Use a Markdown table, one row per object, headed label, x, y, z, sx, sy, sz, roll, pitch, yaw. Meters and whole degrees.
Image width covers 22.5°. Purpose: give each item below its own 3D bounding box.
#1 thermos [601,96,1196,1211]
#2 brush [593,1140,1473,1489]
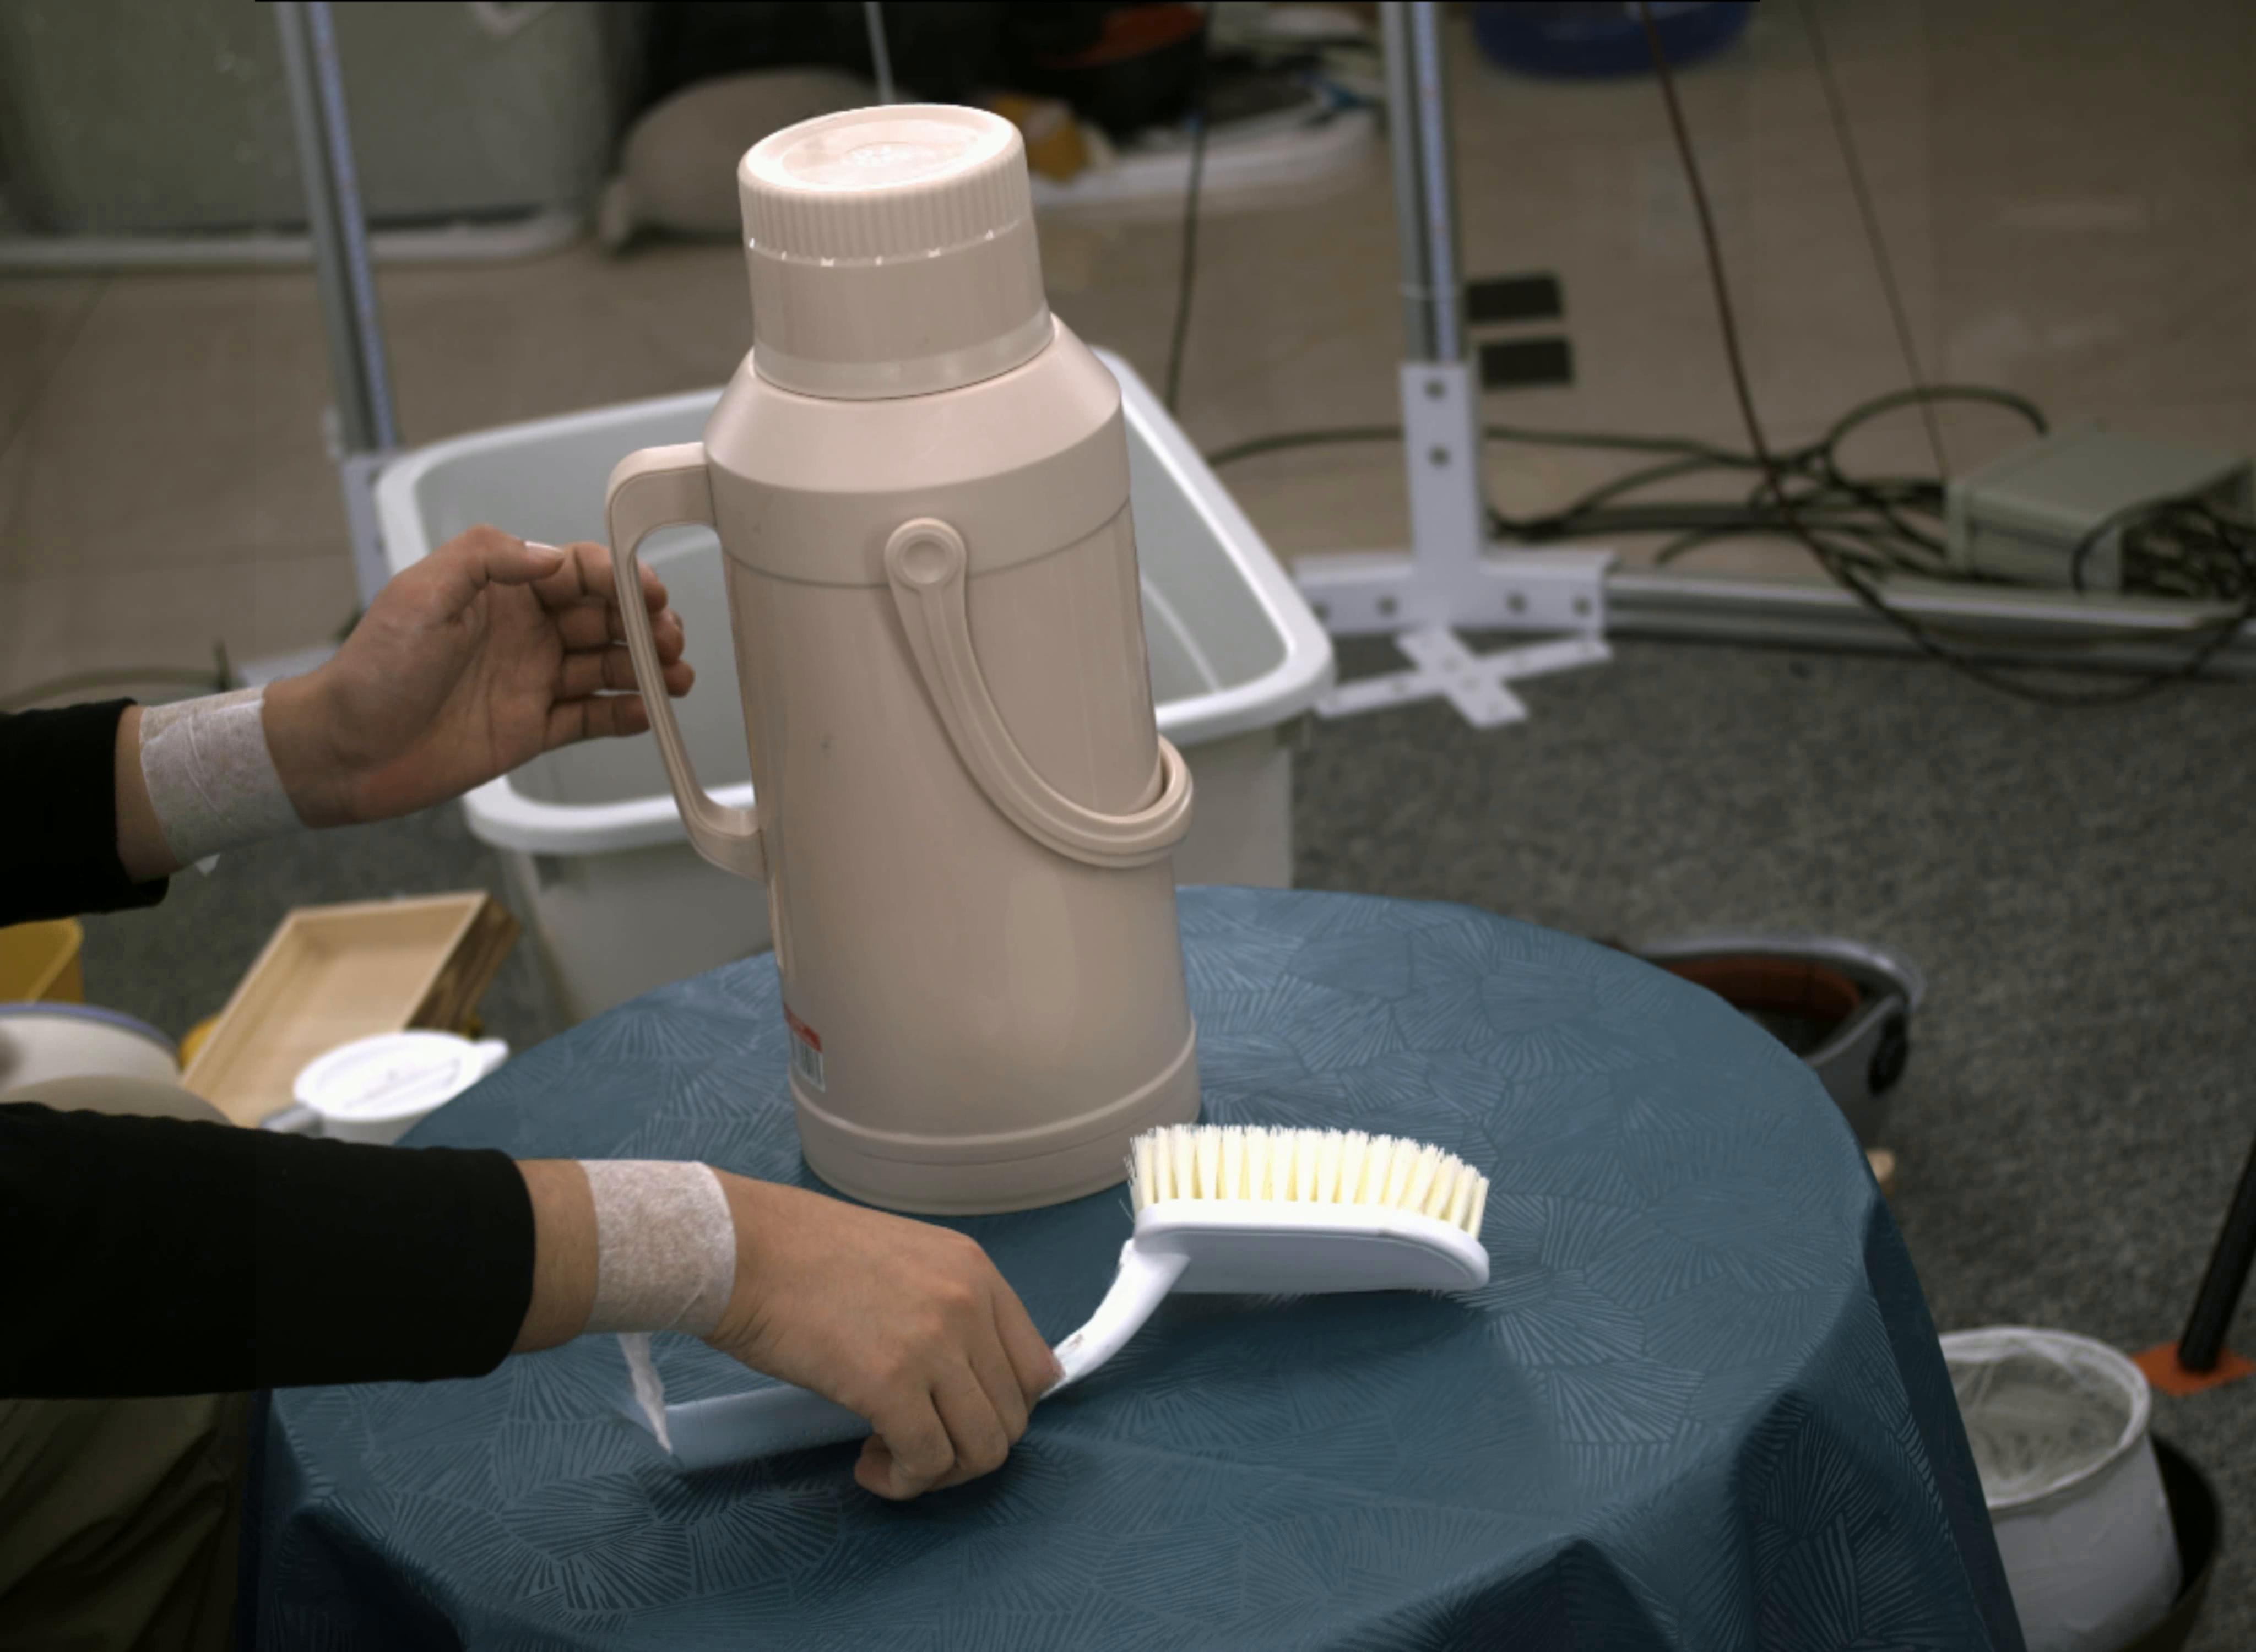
| label | x | y | z | sx | sy | sz | roll | pitch | yaw |
| --- | --- | --- | --- | --- | --- | --- | --- | --- | --- |
| thermos | -0.085 | -0.064 | 2.127 | 0.206 | 0.413 | 0.172 | -7 | 27 | -1 |
| brush | -0.035 | 0.159 | 2.021 | 0.324 | 0.084 | 0.083 | -10 | 27 | -9 |
